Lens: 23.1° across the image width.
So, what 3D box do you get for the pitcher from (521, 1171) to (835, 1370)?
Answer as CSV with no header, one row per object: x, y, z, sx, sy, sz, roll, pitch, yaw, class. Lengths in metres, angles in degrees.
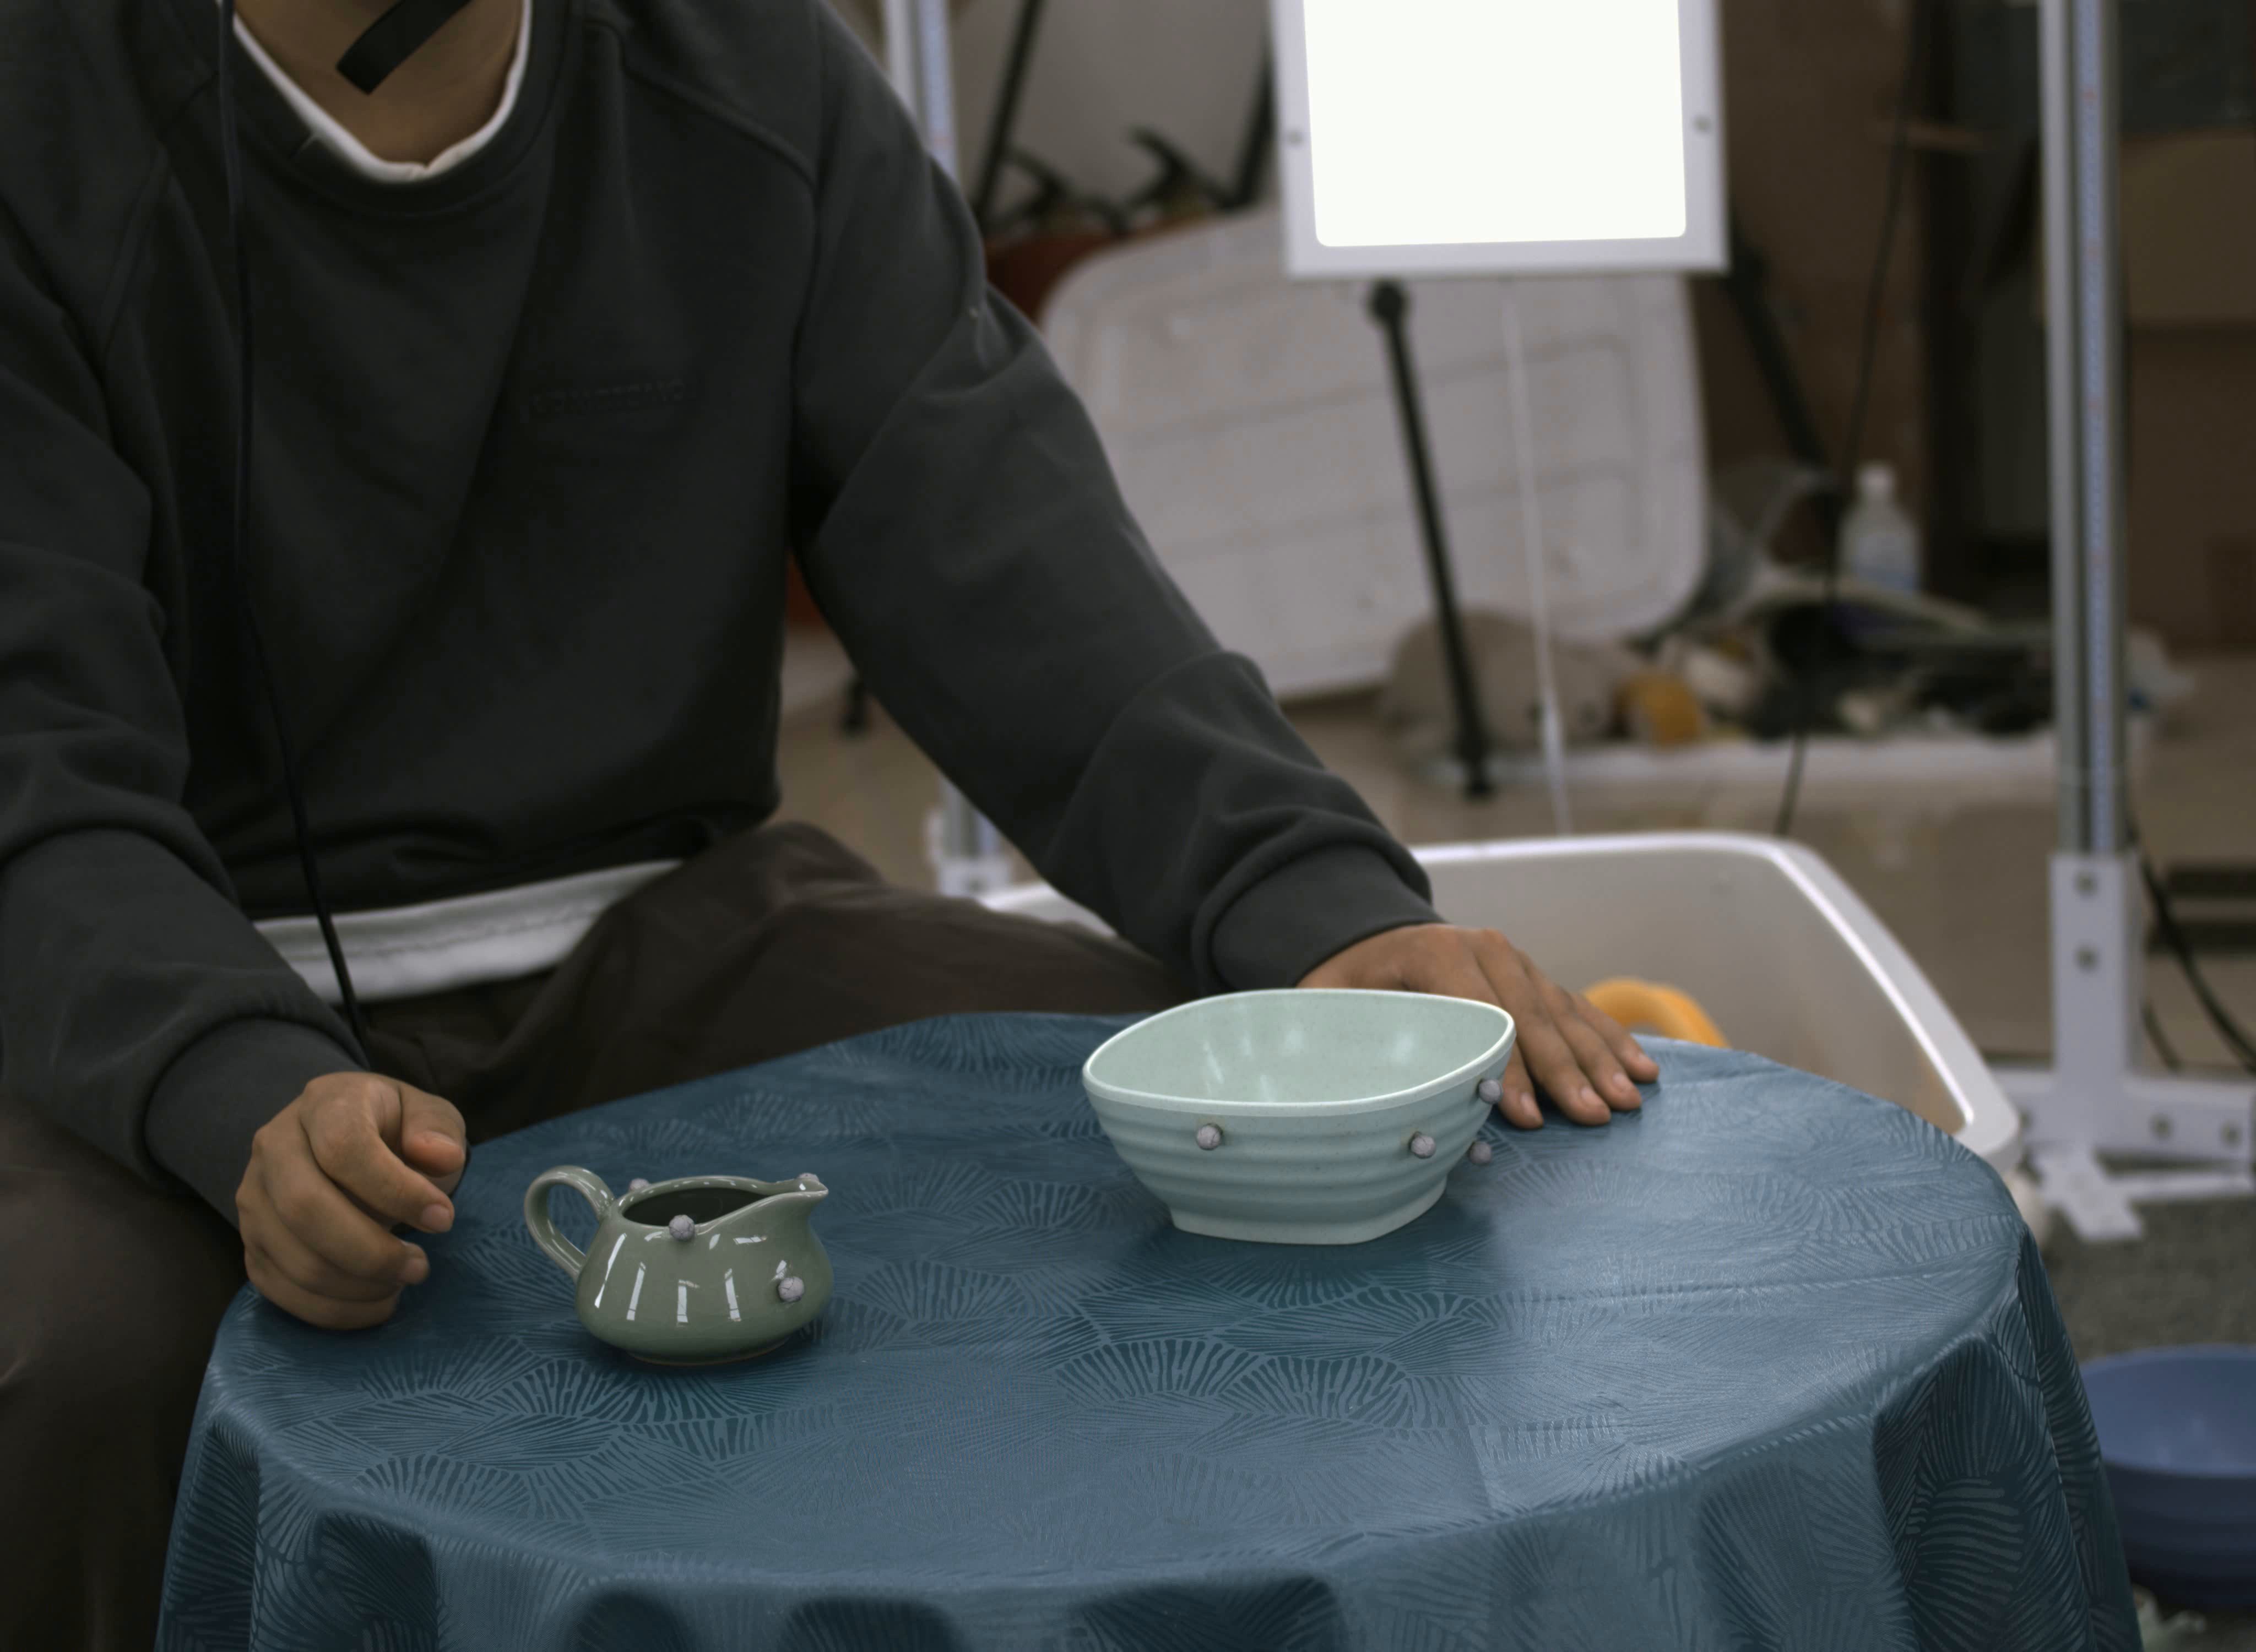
-0.143,0.140,1.778,0.114,0.056,0.082,1,14,26,pitcher

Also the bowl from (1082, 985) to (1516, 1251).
0.060,0.102,1.862,0.151,0.059,0.151,-4,15,0,bowl
